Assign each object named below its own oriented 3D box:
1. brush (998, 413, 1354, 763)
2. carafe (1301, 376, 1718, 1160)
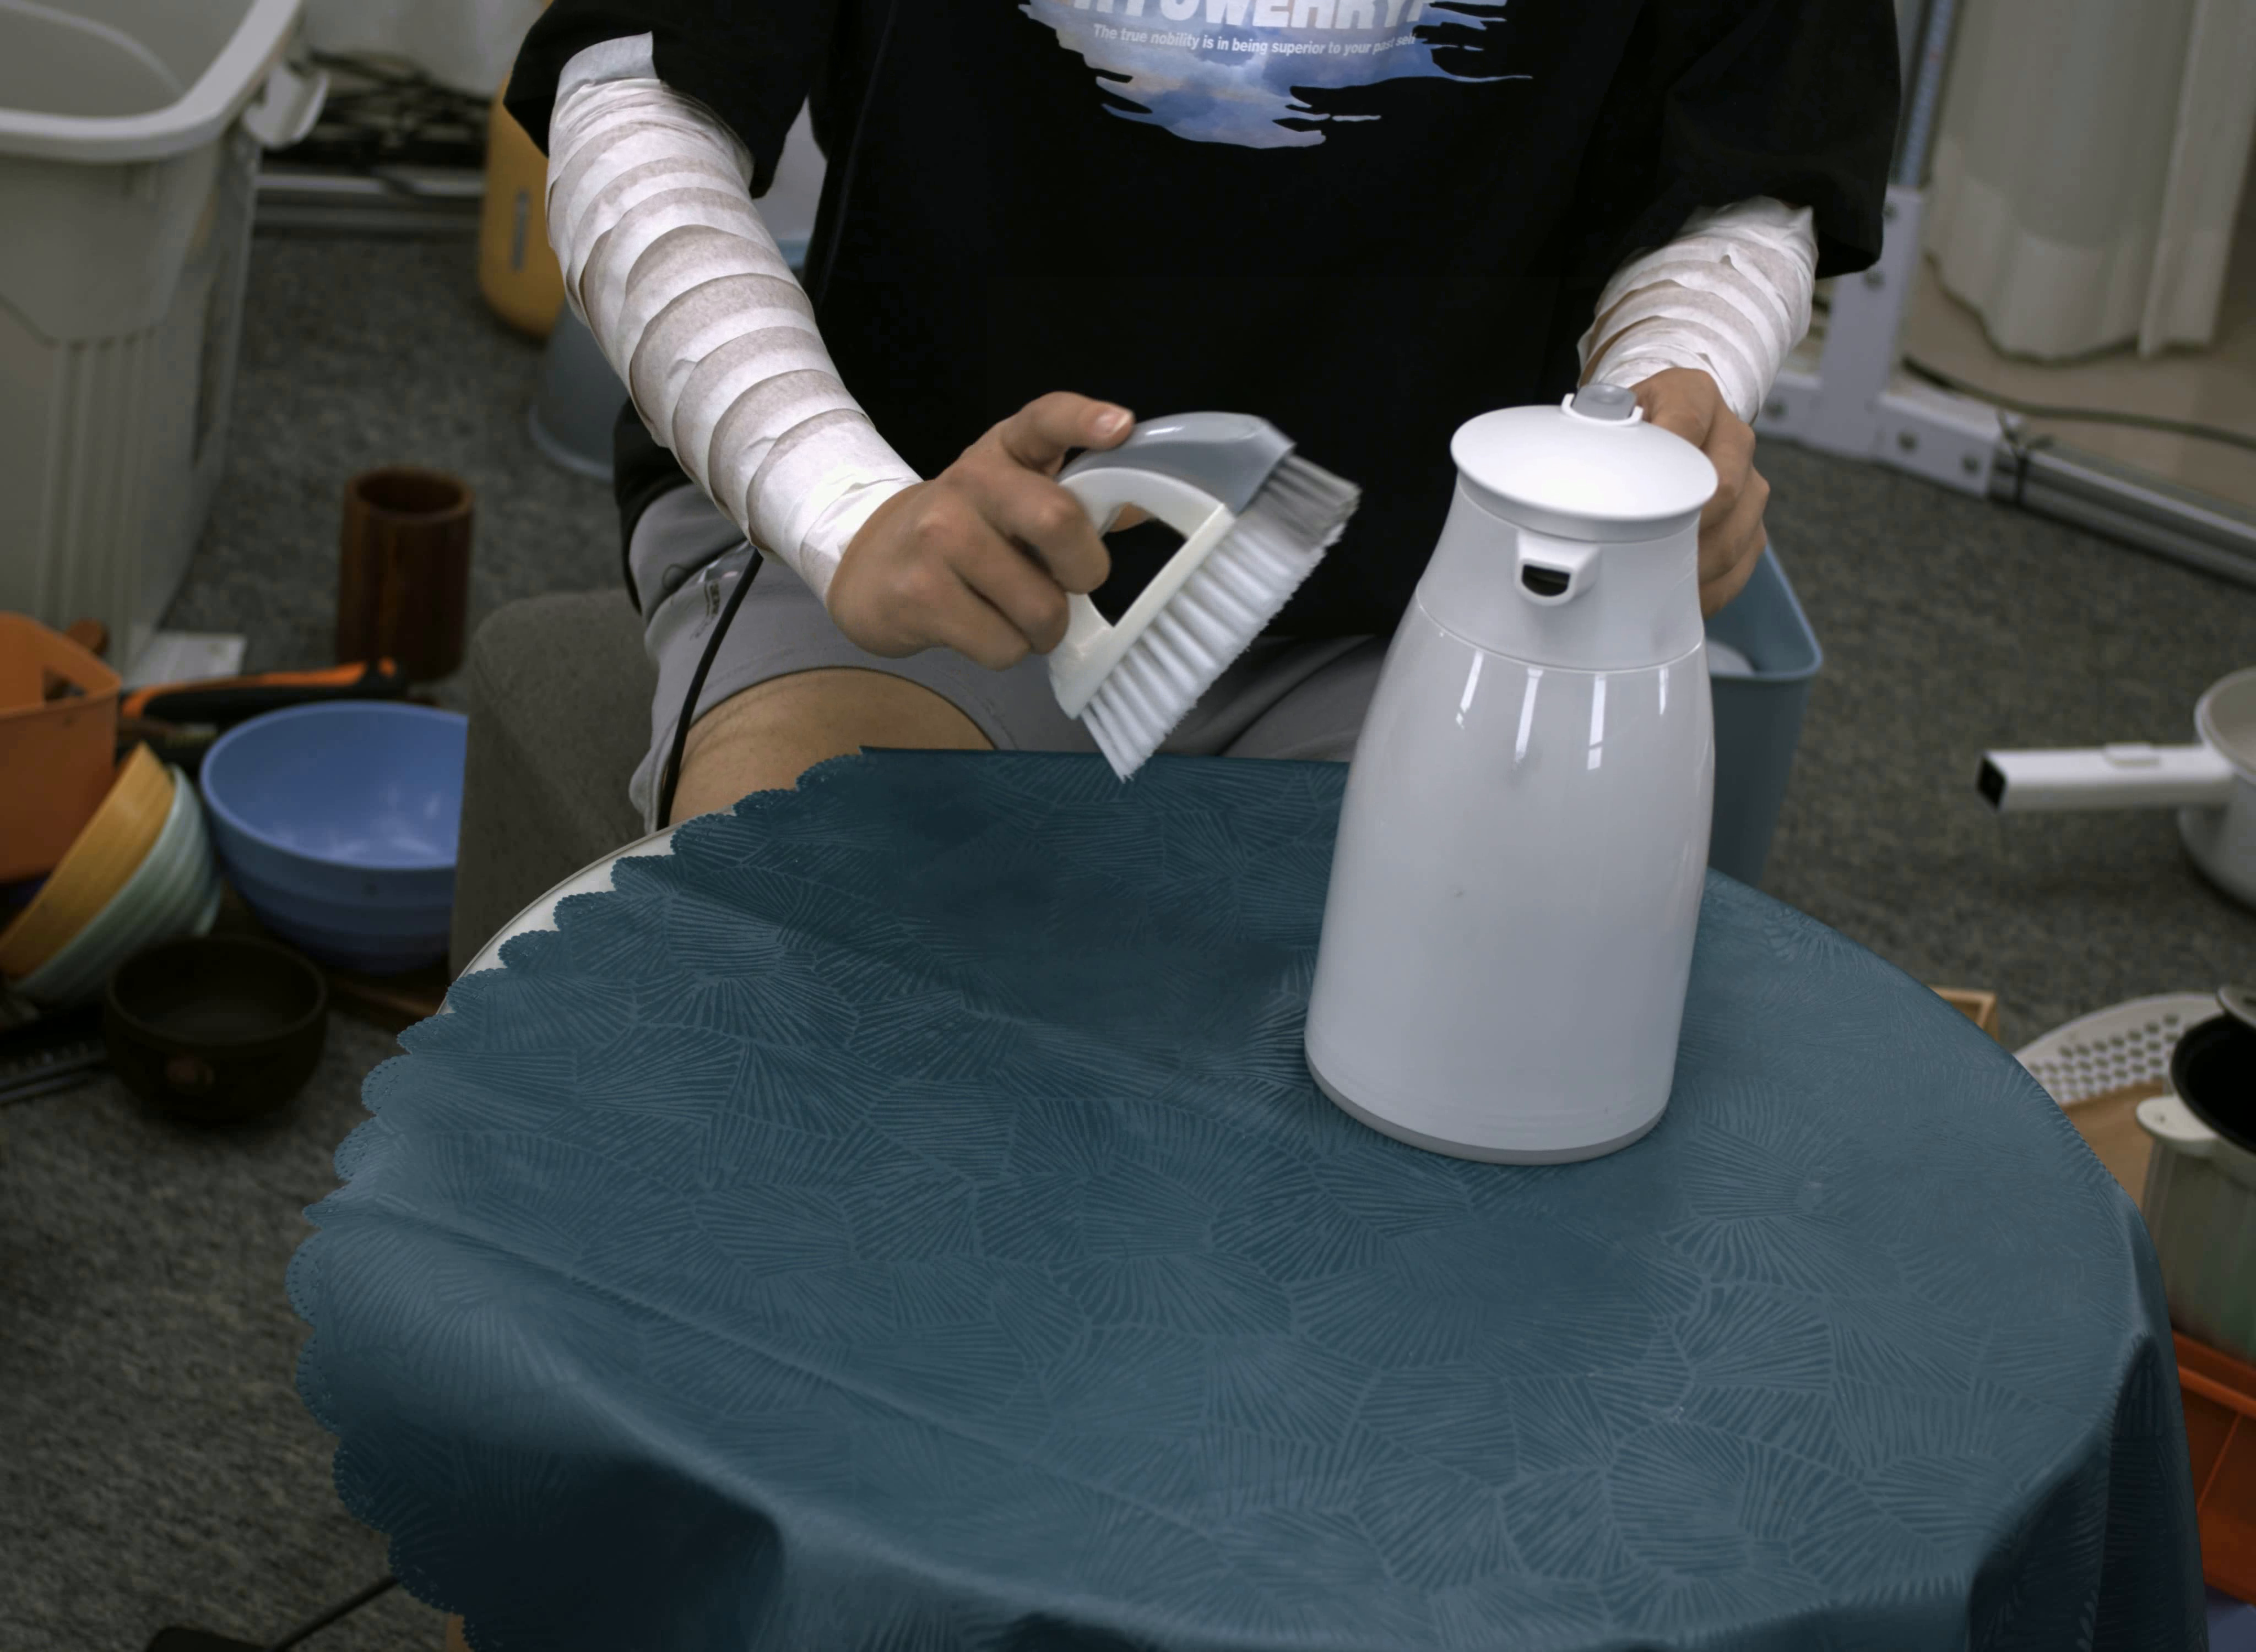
[{"bbox_3d":[0.011,-0.099,1.856,0.094,0.175,0.061,41,55,-1],"label":"brush"},{"bbox_3d":[0.144,-0.031,1.867,0.132,0.248,0.168,11,26,9],"label":"carafe"}]
